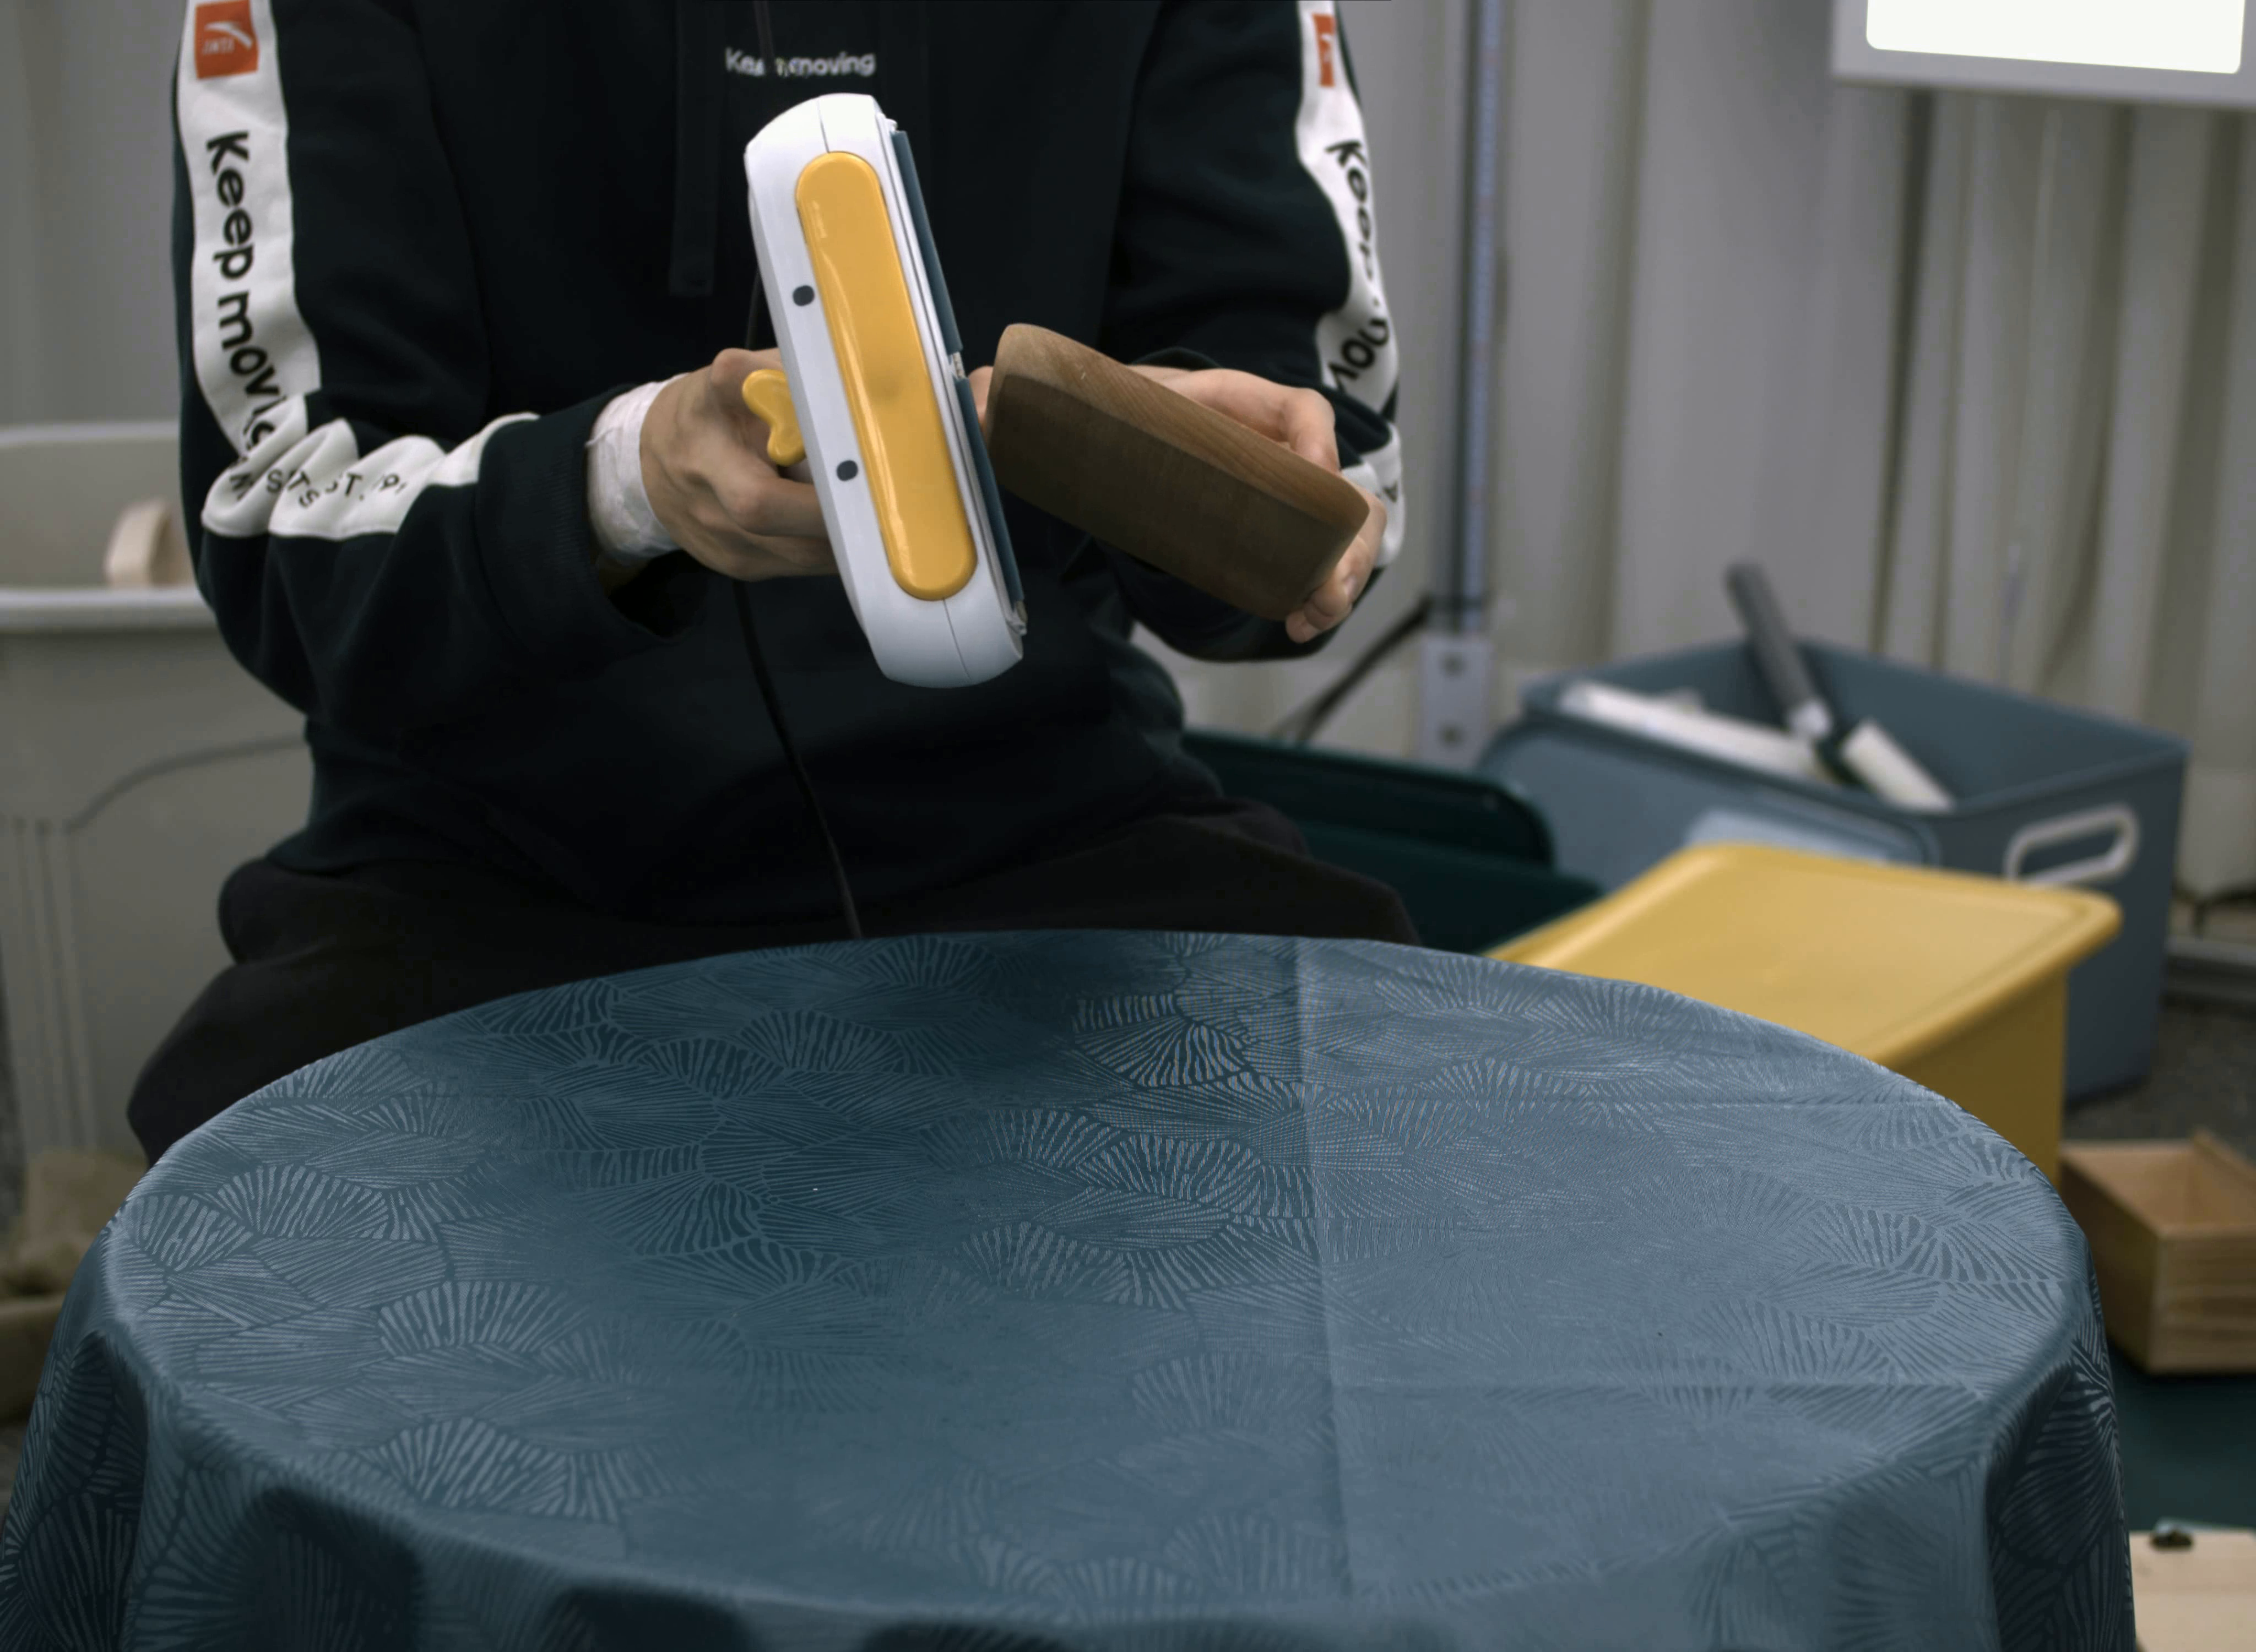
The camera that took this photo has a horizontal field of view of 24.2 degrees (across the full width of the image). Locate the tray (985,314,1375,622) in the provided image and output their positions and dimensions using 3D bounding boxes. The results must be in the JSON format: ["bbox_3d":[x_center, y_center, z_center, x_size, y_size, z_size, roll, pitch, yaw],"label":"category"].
[{"bbox_3d":[0.012,-0.113,1.714,0.130,0.023,0.251,29,-7,1],"label":"tray"}]

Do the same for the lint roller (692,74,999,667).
[{"bbox_3d":[-0.103,-0.127,1.722,0.074,0.192,0.192,-16,-11,-16],"label":"lint roller"}]
